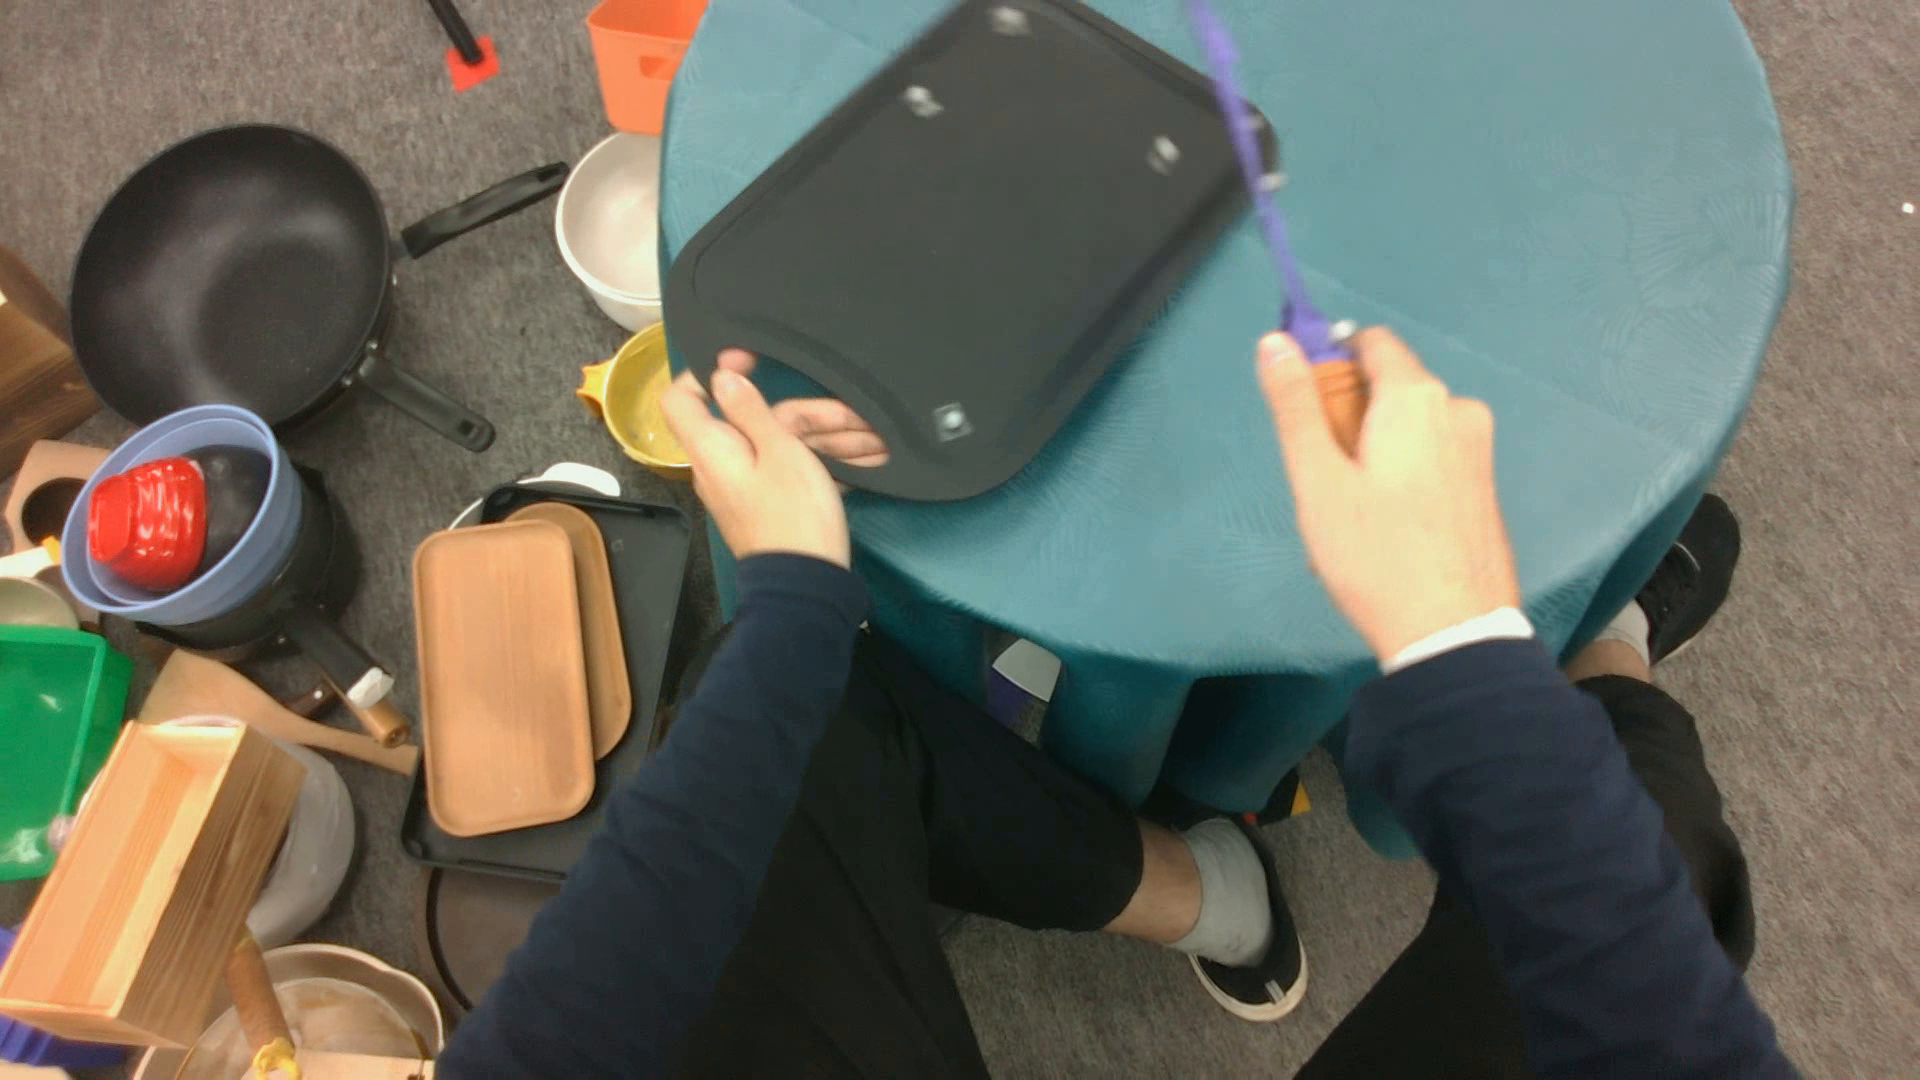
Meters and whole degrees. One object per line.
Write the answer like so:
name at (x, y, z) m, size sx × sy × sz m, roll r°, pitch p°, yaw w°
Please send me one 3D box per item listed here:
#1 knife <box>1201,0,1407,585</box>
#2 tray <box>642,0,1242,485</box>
knife at (0.131, -0.136, 0.568) m, size 0.032 × 0.104 × 0.315 m, roll -15°, pitch 81°, yaw 19°
tray at (-0.007, -0.172, 0.707) m, size 0.211 × 0.010 × 0.326 m, roll 33°, pitch 67°, yaw 12°
